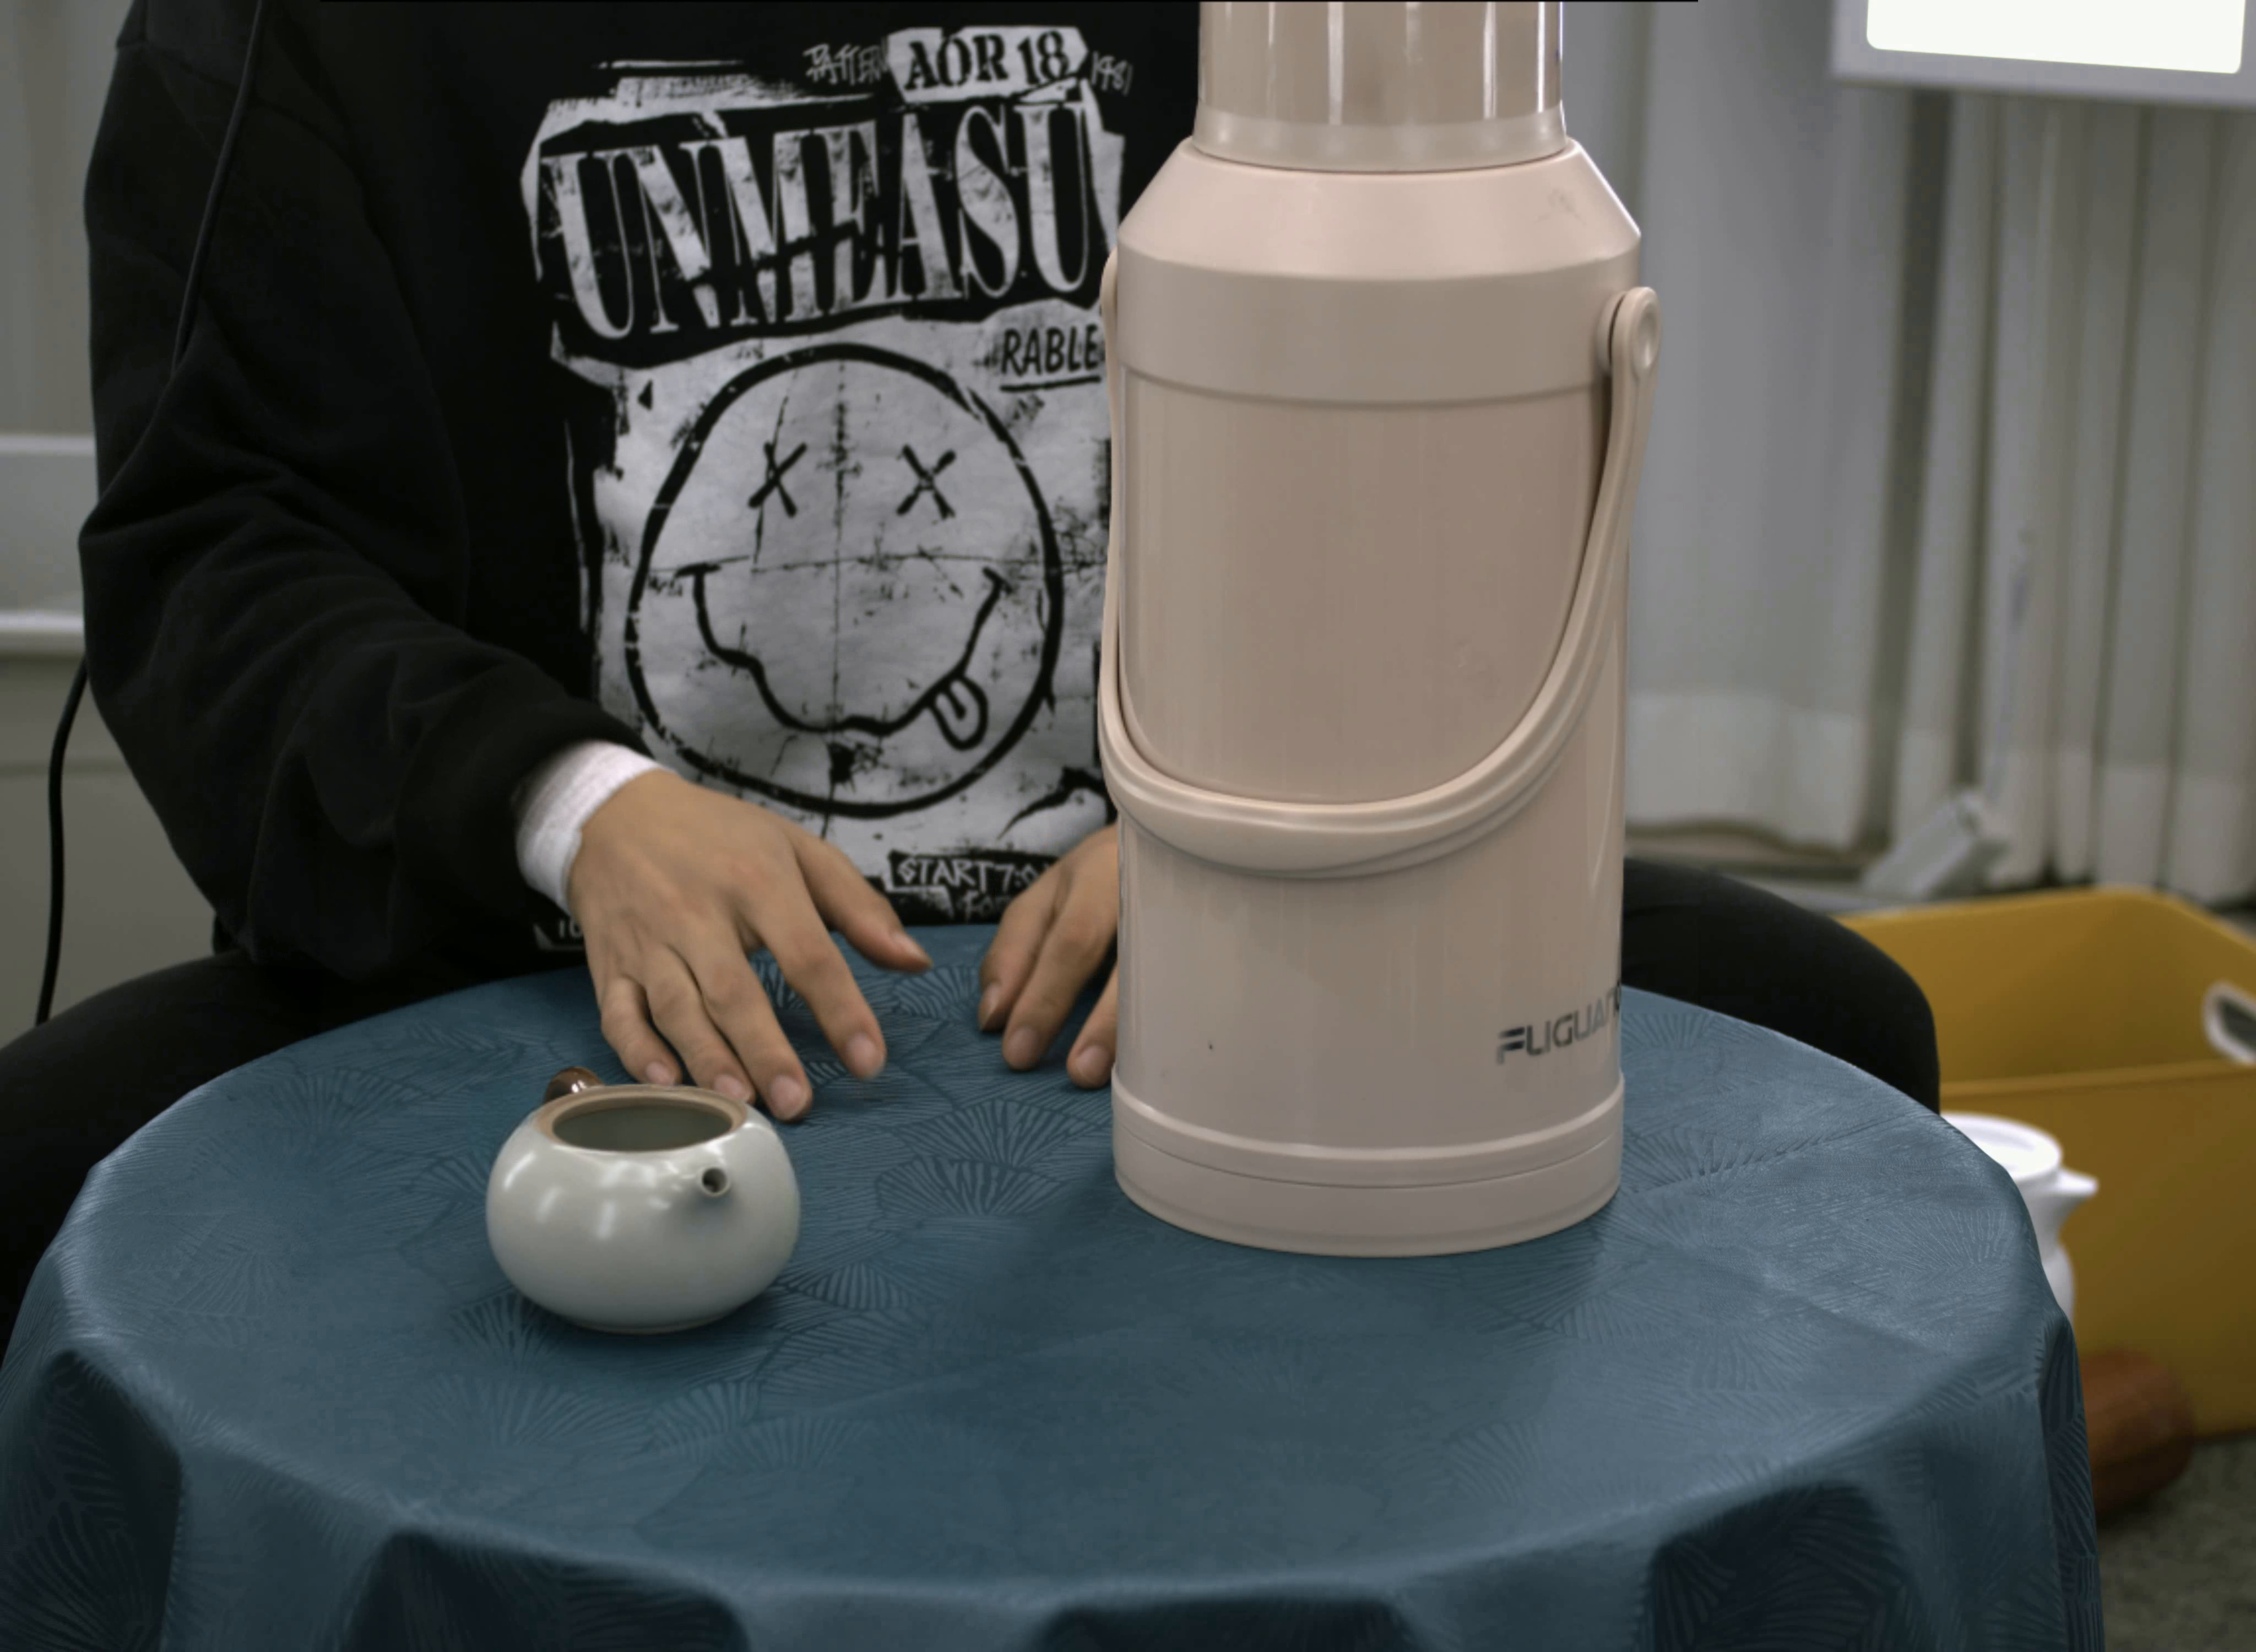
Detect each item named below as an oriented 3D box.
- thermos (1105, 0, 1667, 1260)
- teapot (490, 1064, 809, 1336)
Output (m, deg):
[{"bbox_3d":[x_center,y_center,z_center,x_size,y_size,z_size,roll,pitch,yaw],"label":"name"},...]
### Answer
[{"bbox_3d":[0.084,-0.086,1.597,0.173,0.410,0.207,7,18,26],"label":"thermos"},{"bbox_3d":[-0.143,0.107,1.525,0.092,0.060,0.126,-14,21,-27],"label":"teapot"}]
